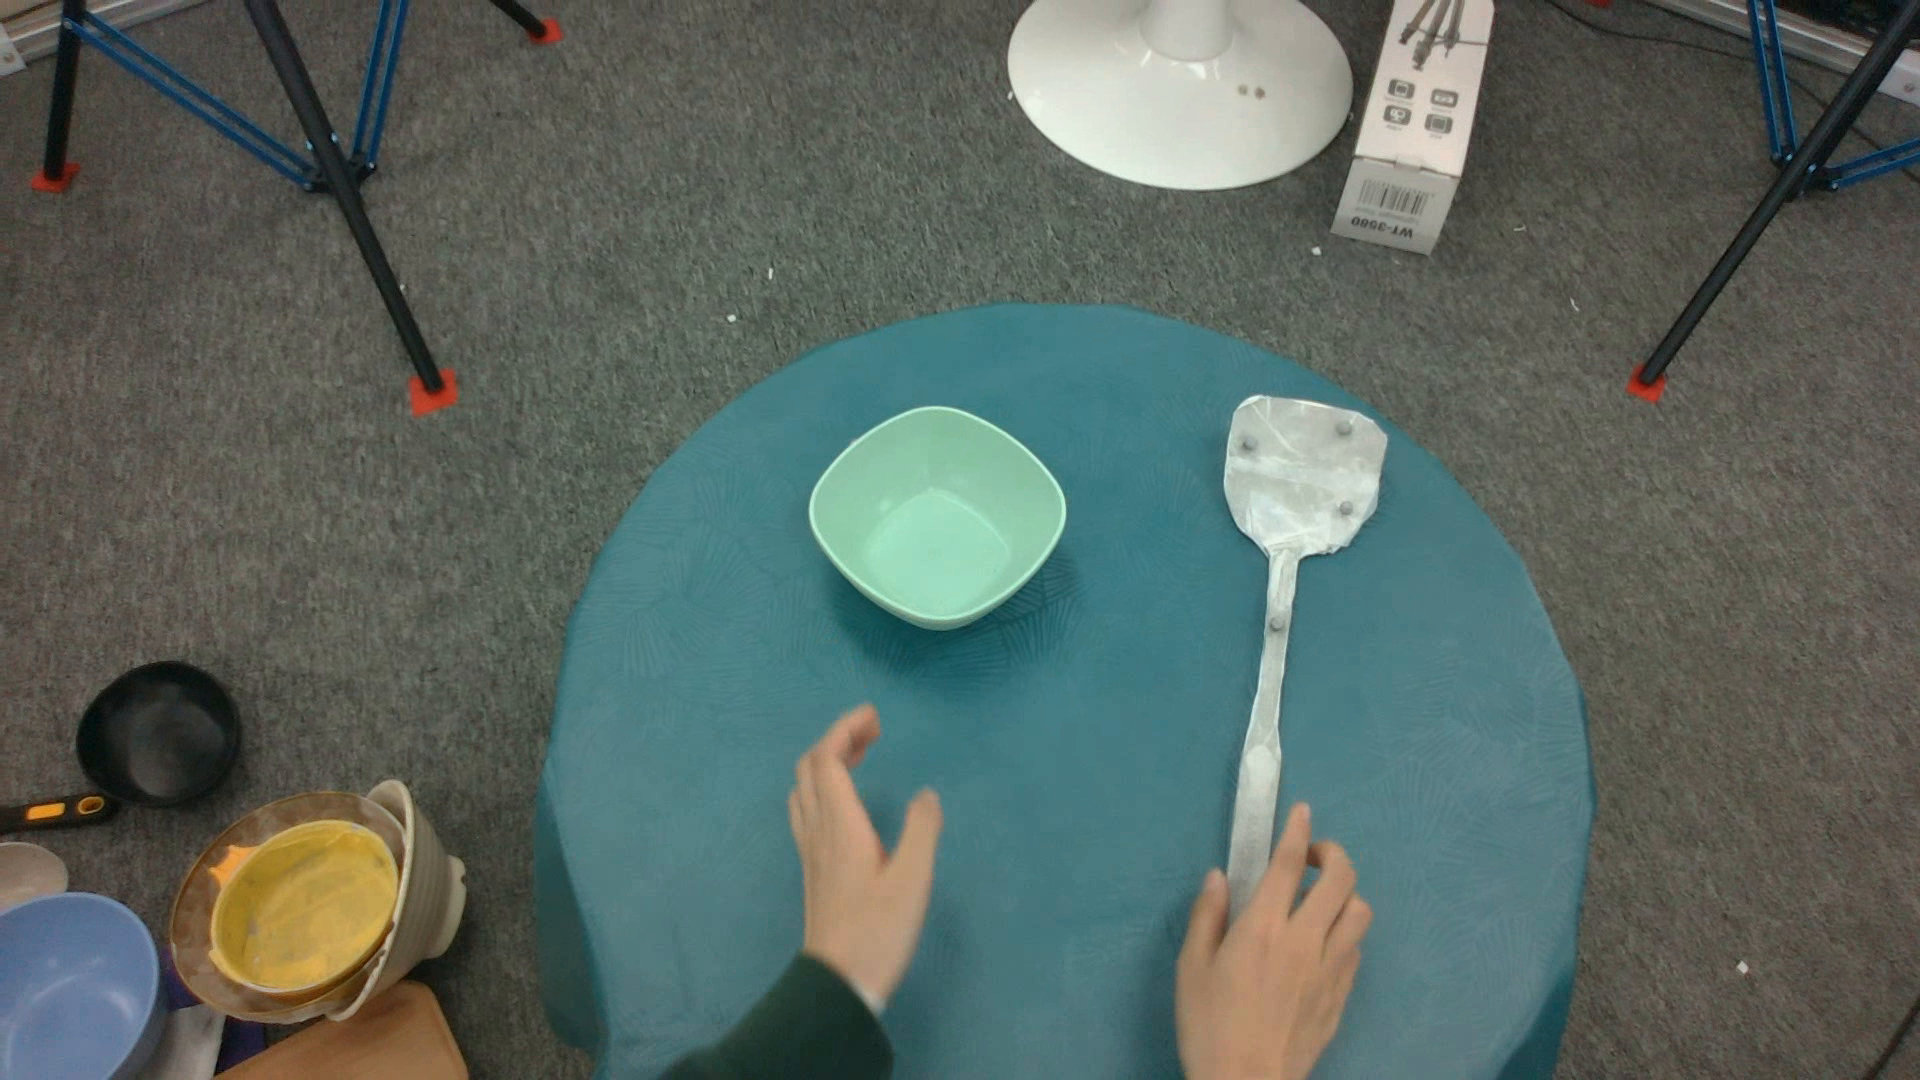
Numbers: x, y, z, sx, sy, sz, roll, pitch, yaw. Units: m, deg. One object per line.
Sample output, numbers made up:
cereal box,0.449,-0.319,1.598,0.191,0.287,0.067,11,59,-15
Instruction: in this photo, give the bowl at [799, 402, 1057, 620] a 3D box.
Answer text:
bowl,-0.019,-0.008,0.825,0.151,0.058,0.152,1,54,-1

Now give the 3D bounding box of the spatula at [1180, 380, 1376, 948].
spatula,0.175,0.059,0.803,0.098,0.044,0.366,15,57,4
